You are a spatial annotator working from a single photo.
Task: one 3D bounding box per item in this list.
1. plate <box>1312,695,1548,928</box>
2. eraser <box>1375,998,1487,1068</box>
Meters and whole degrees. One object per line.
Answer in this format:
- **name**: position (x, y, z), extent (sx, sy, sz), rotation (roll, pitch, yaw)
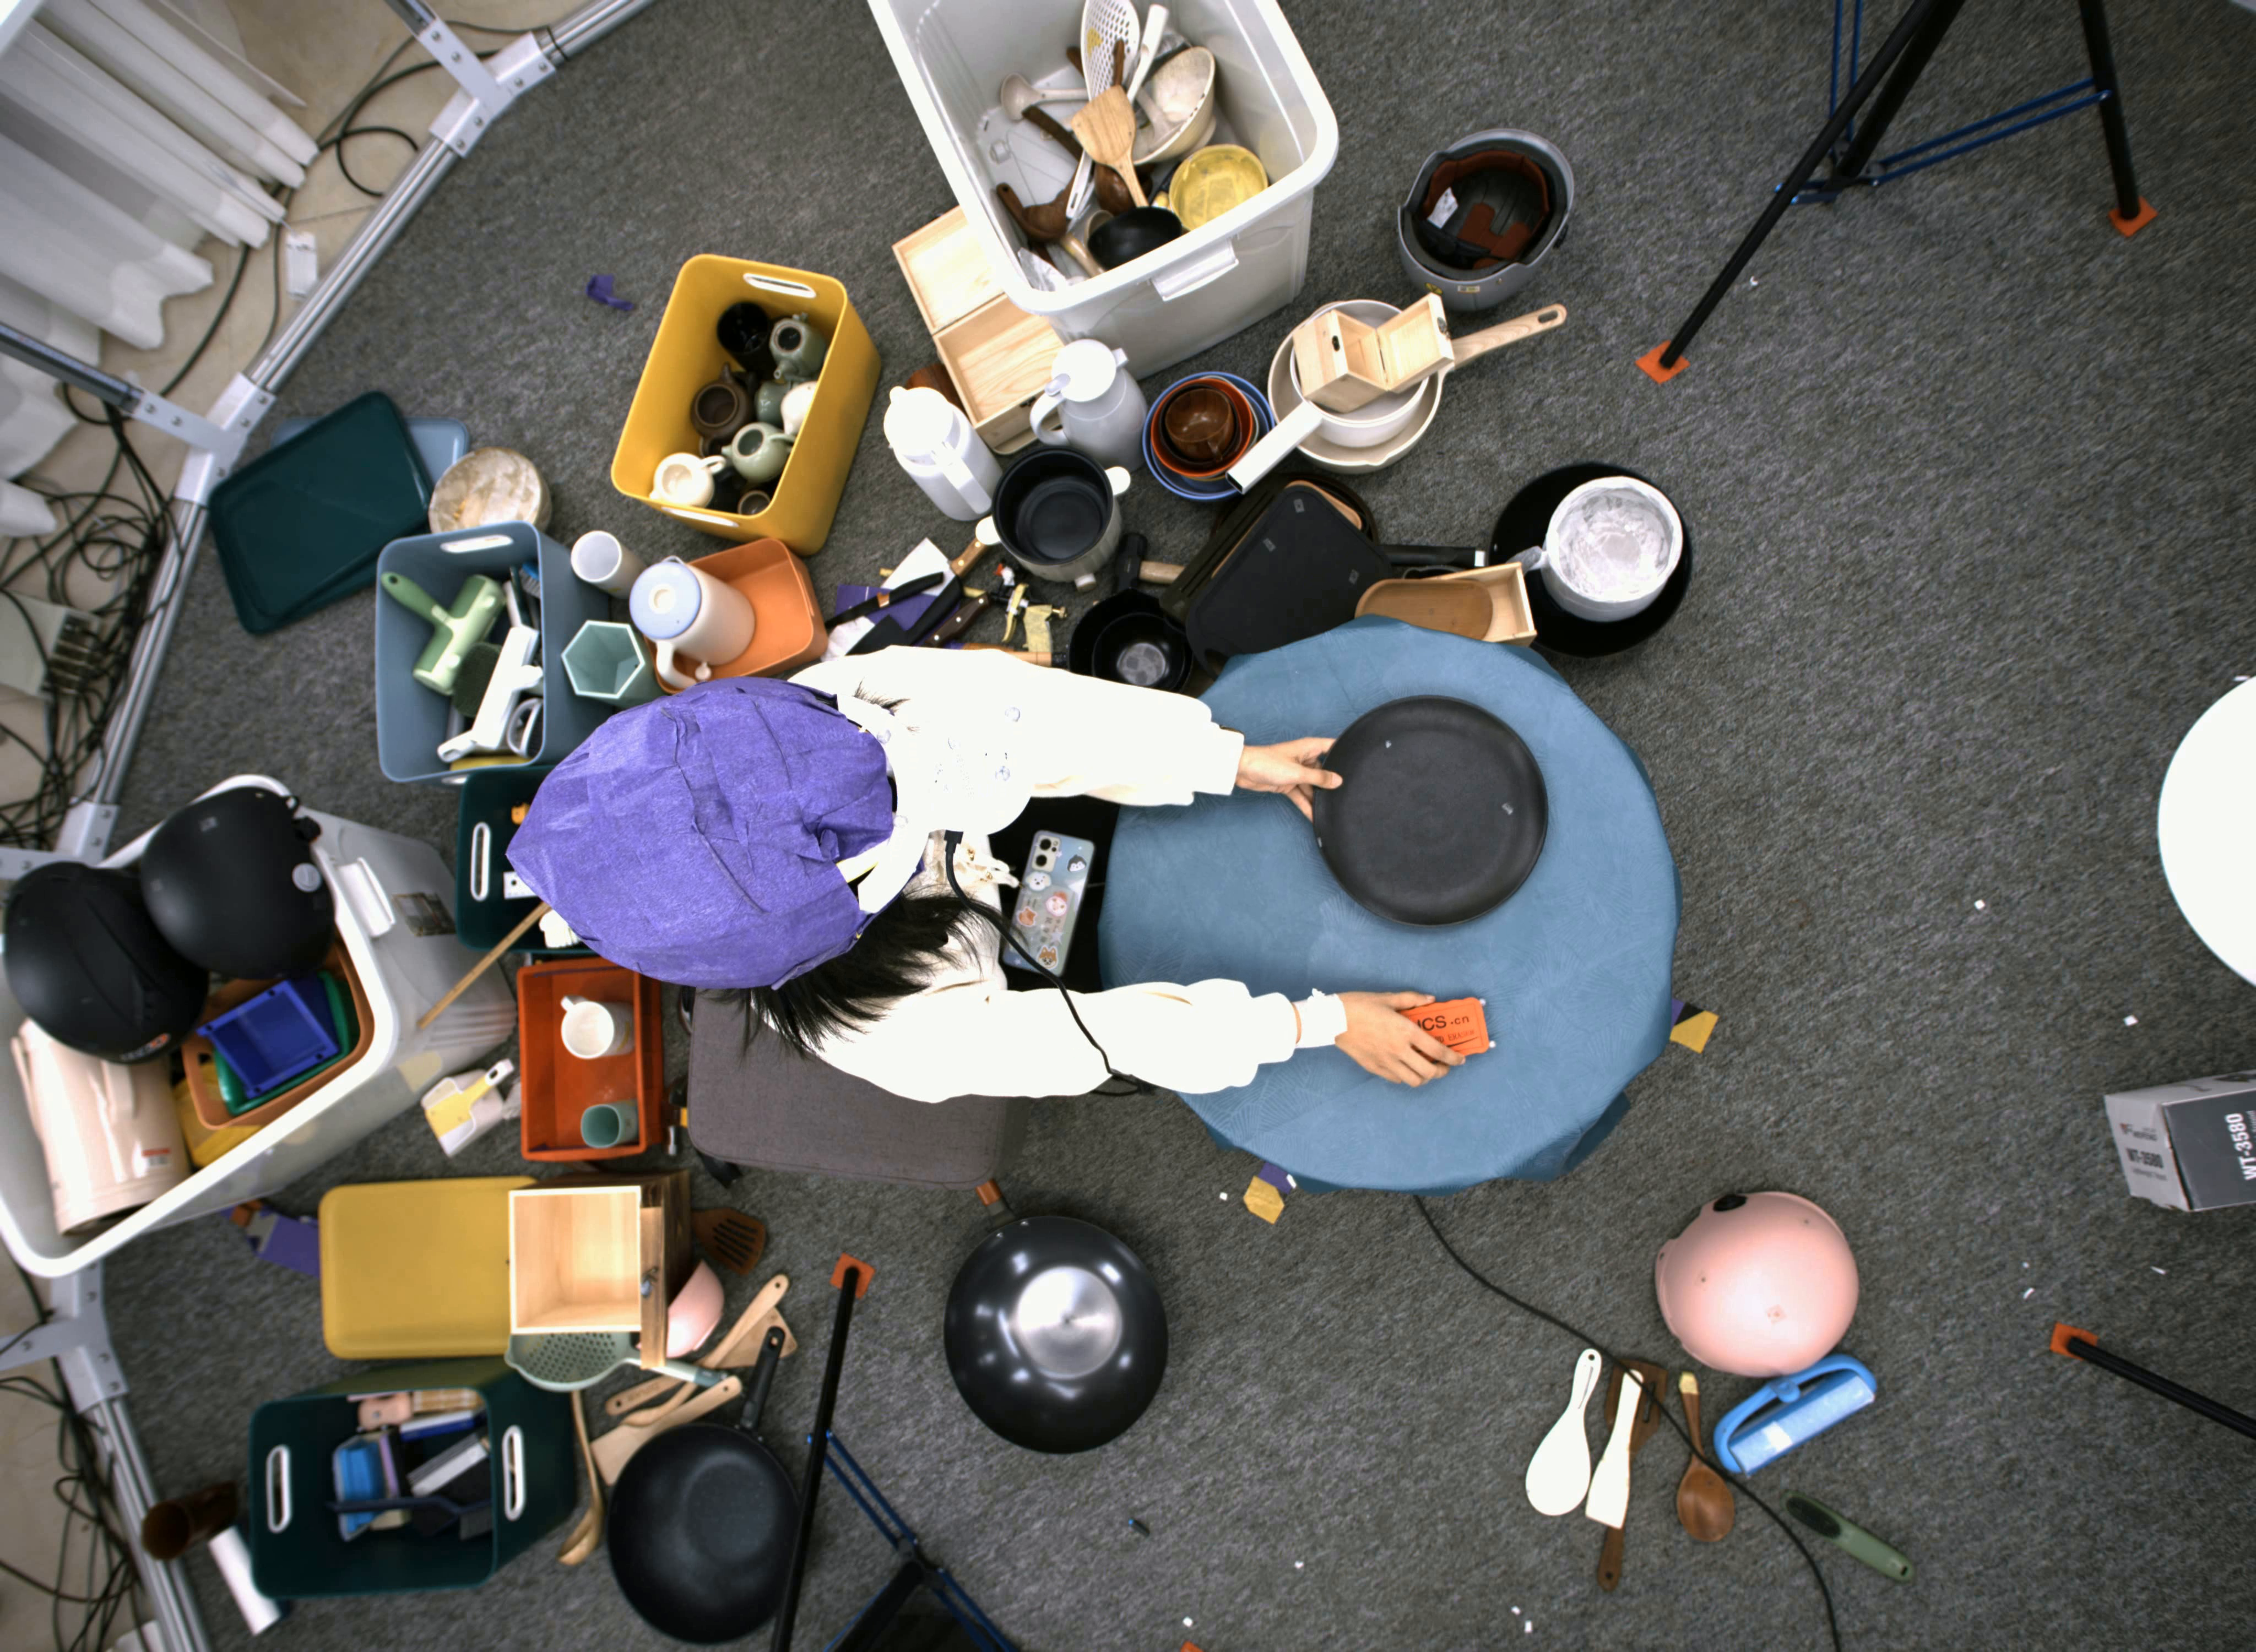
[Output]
- **plate**: position (0.314, -0.017, 1.438), extent (0.245, 0.023, 0.244), rotation (0, 89, 6)
- **eraser**: position (0.312, 0.211, 1.420), extent (0.108, 0.023, 0.059), rotation (-11, 90, 8)
